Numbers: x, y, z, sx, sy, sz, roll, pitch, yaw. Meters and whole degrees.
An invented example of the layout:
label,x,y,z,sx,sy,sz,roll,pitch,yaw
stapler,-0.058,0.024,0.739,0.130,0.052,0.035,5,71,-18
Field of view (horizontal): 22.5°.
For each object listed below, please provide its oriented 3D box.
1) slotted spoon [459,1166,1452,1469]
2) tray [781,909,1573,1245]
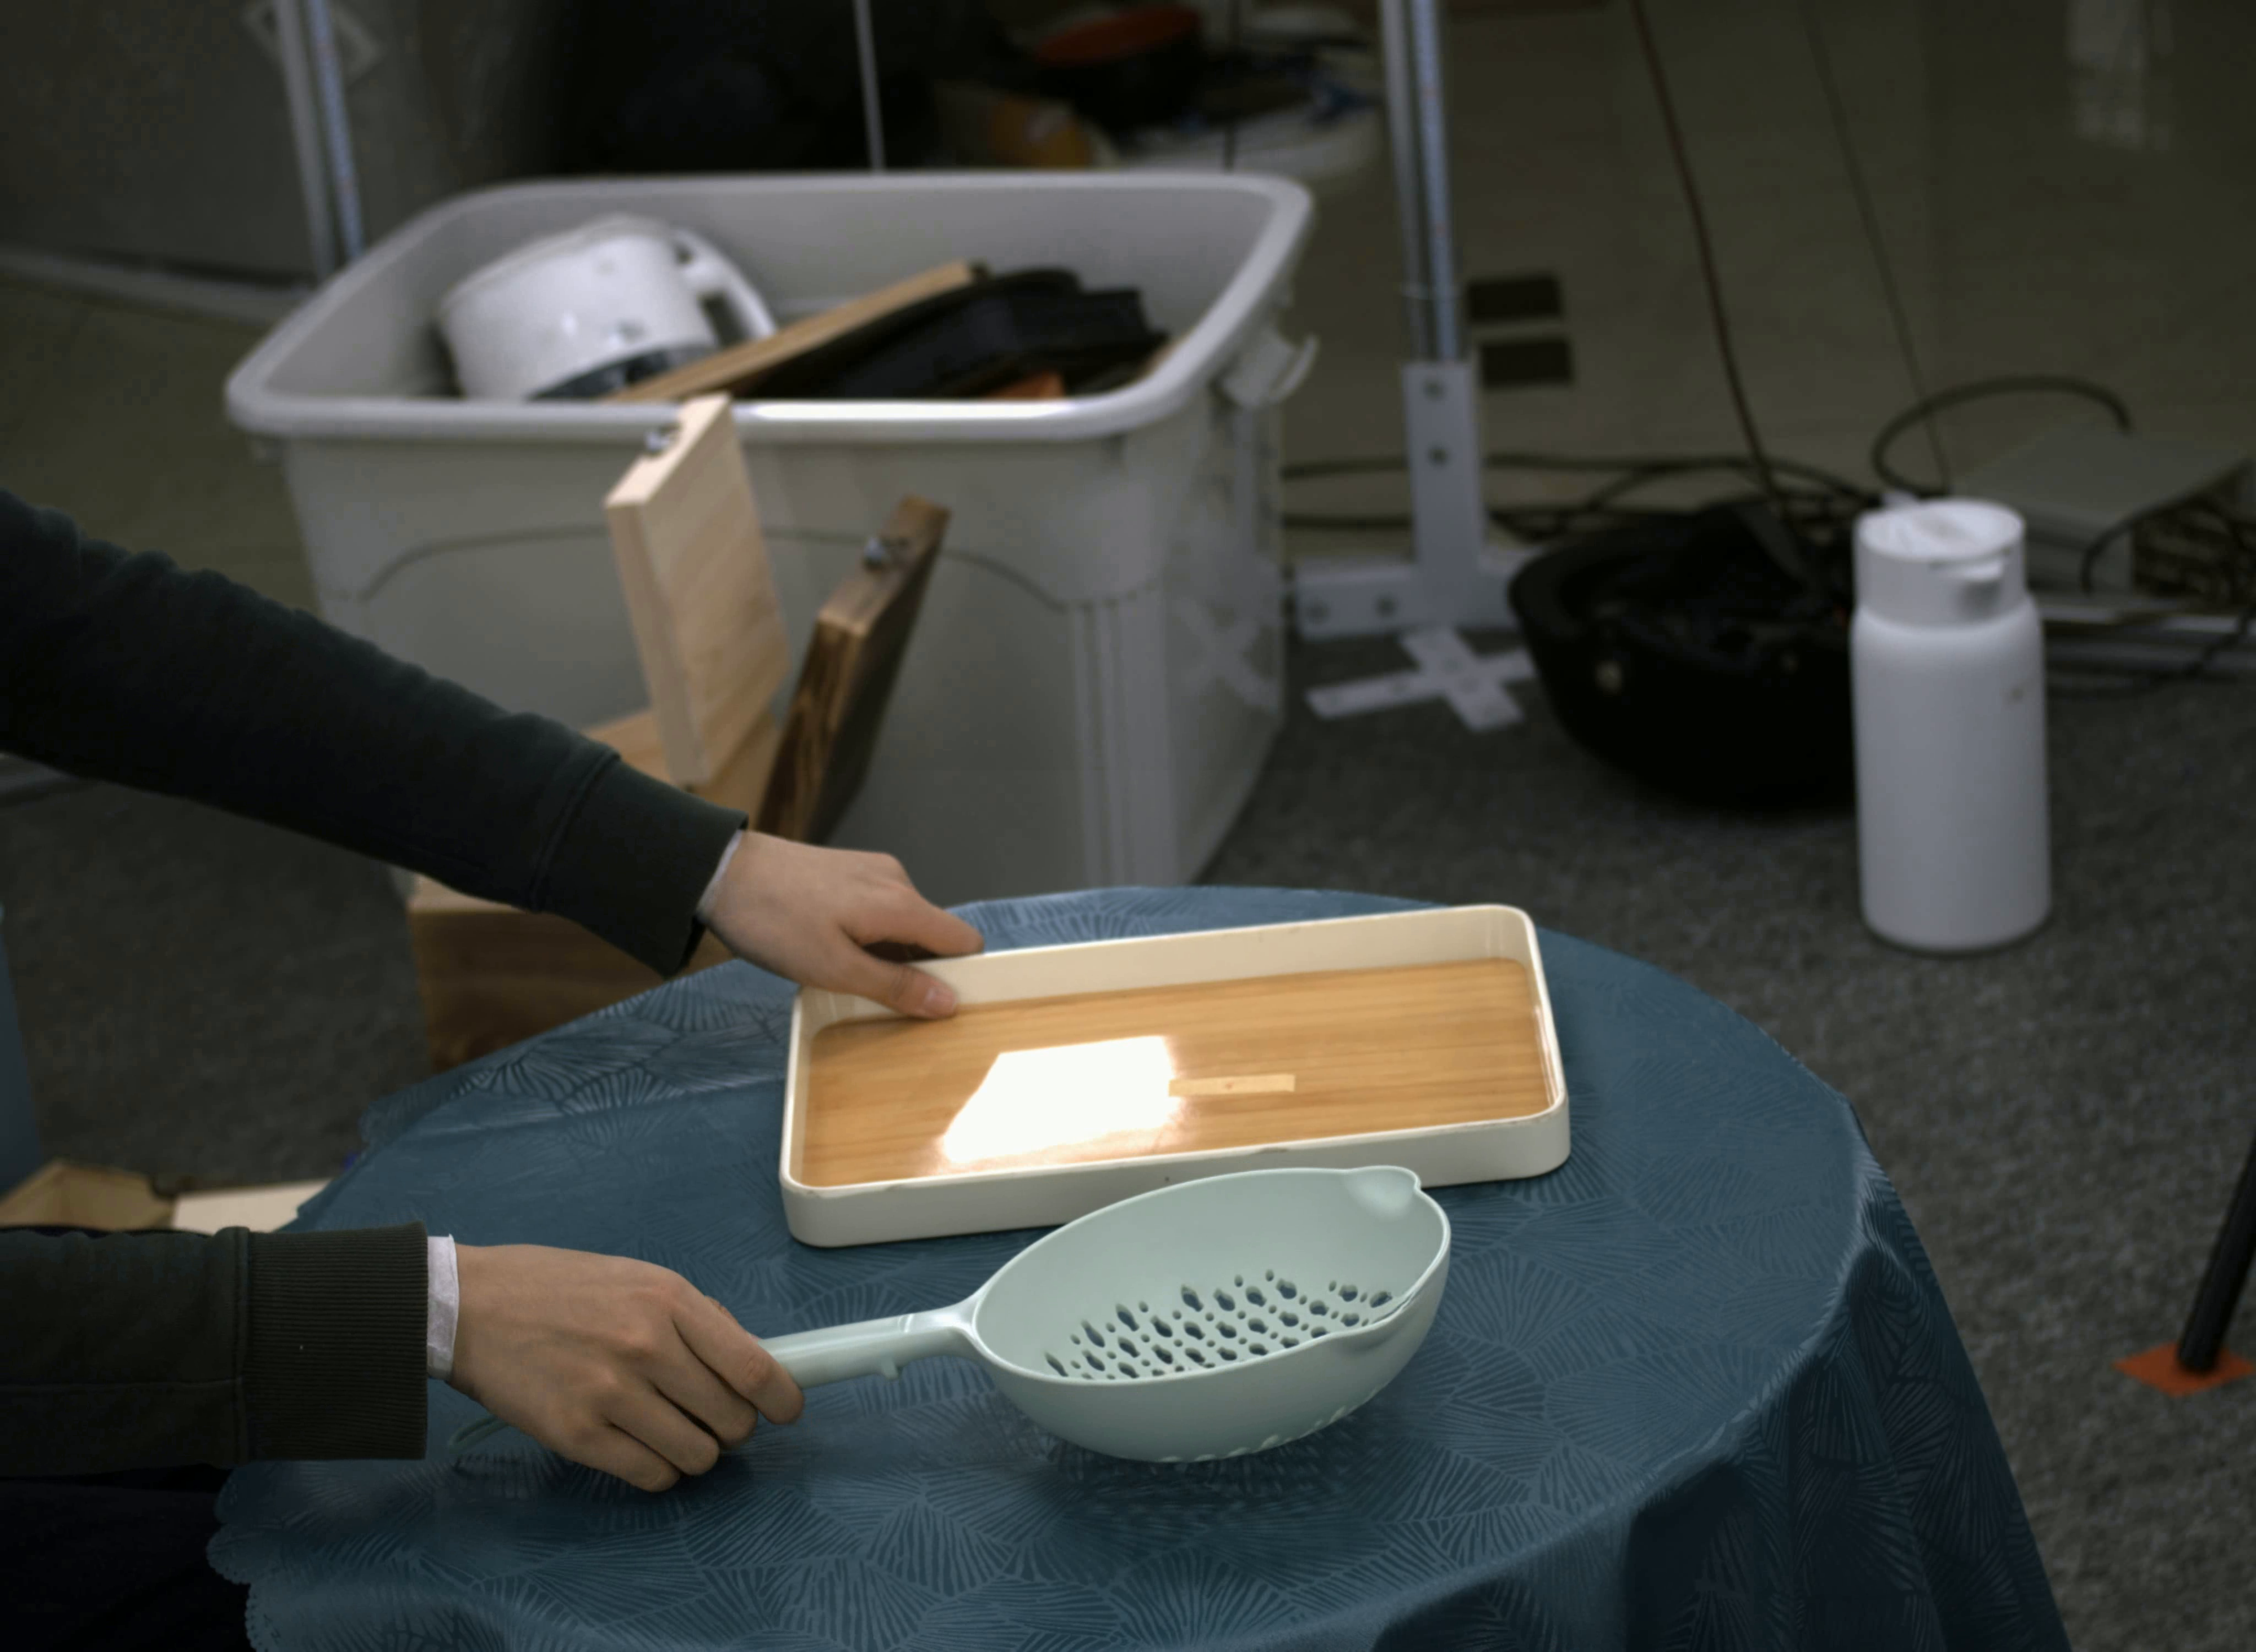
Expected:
label,x,y,z,sx,sy,sz,roll,pitch,yaw
slotted spoon,-0.064,0.184,1.991,0.358,0.076,0.167,-2,20,7
tray,0.017,0.096,2.209,0.300,0.028,0.189,-5,25,2
